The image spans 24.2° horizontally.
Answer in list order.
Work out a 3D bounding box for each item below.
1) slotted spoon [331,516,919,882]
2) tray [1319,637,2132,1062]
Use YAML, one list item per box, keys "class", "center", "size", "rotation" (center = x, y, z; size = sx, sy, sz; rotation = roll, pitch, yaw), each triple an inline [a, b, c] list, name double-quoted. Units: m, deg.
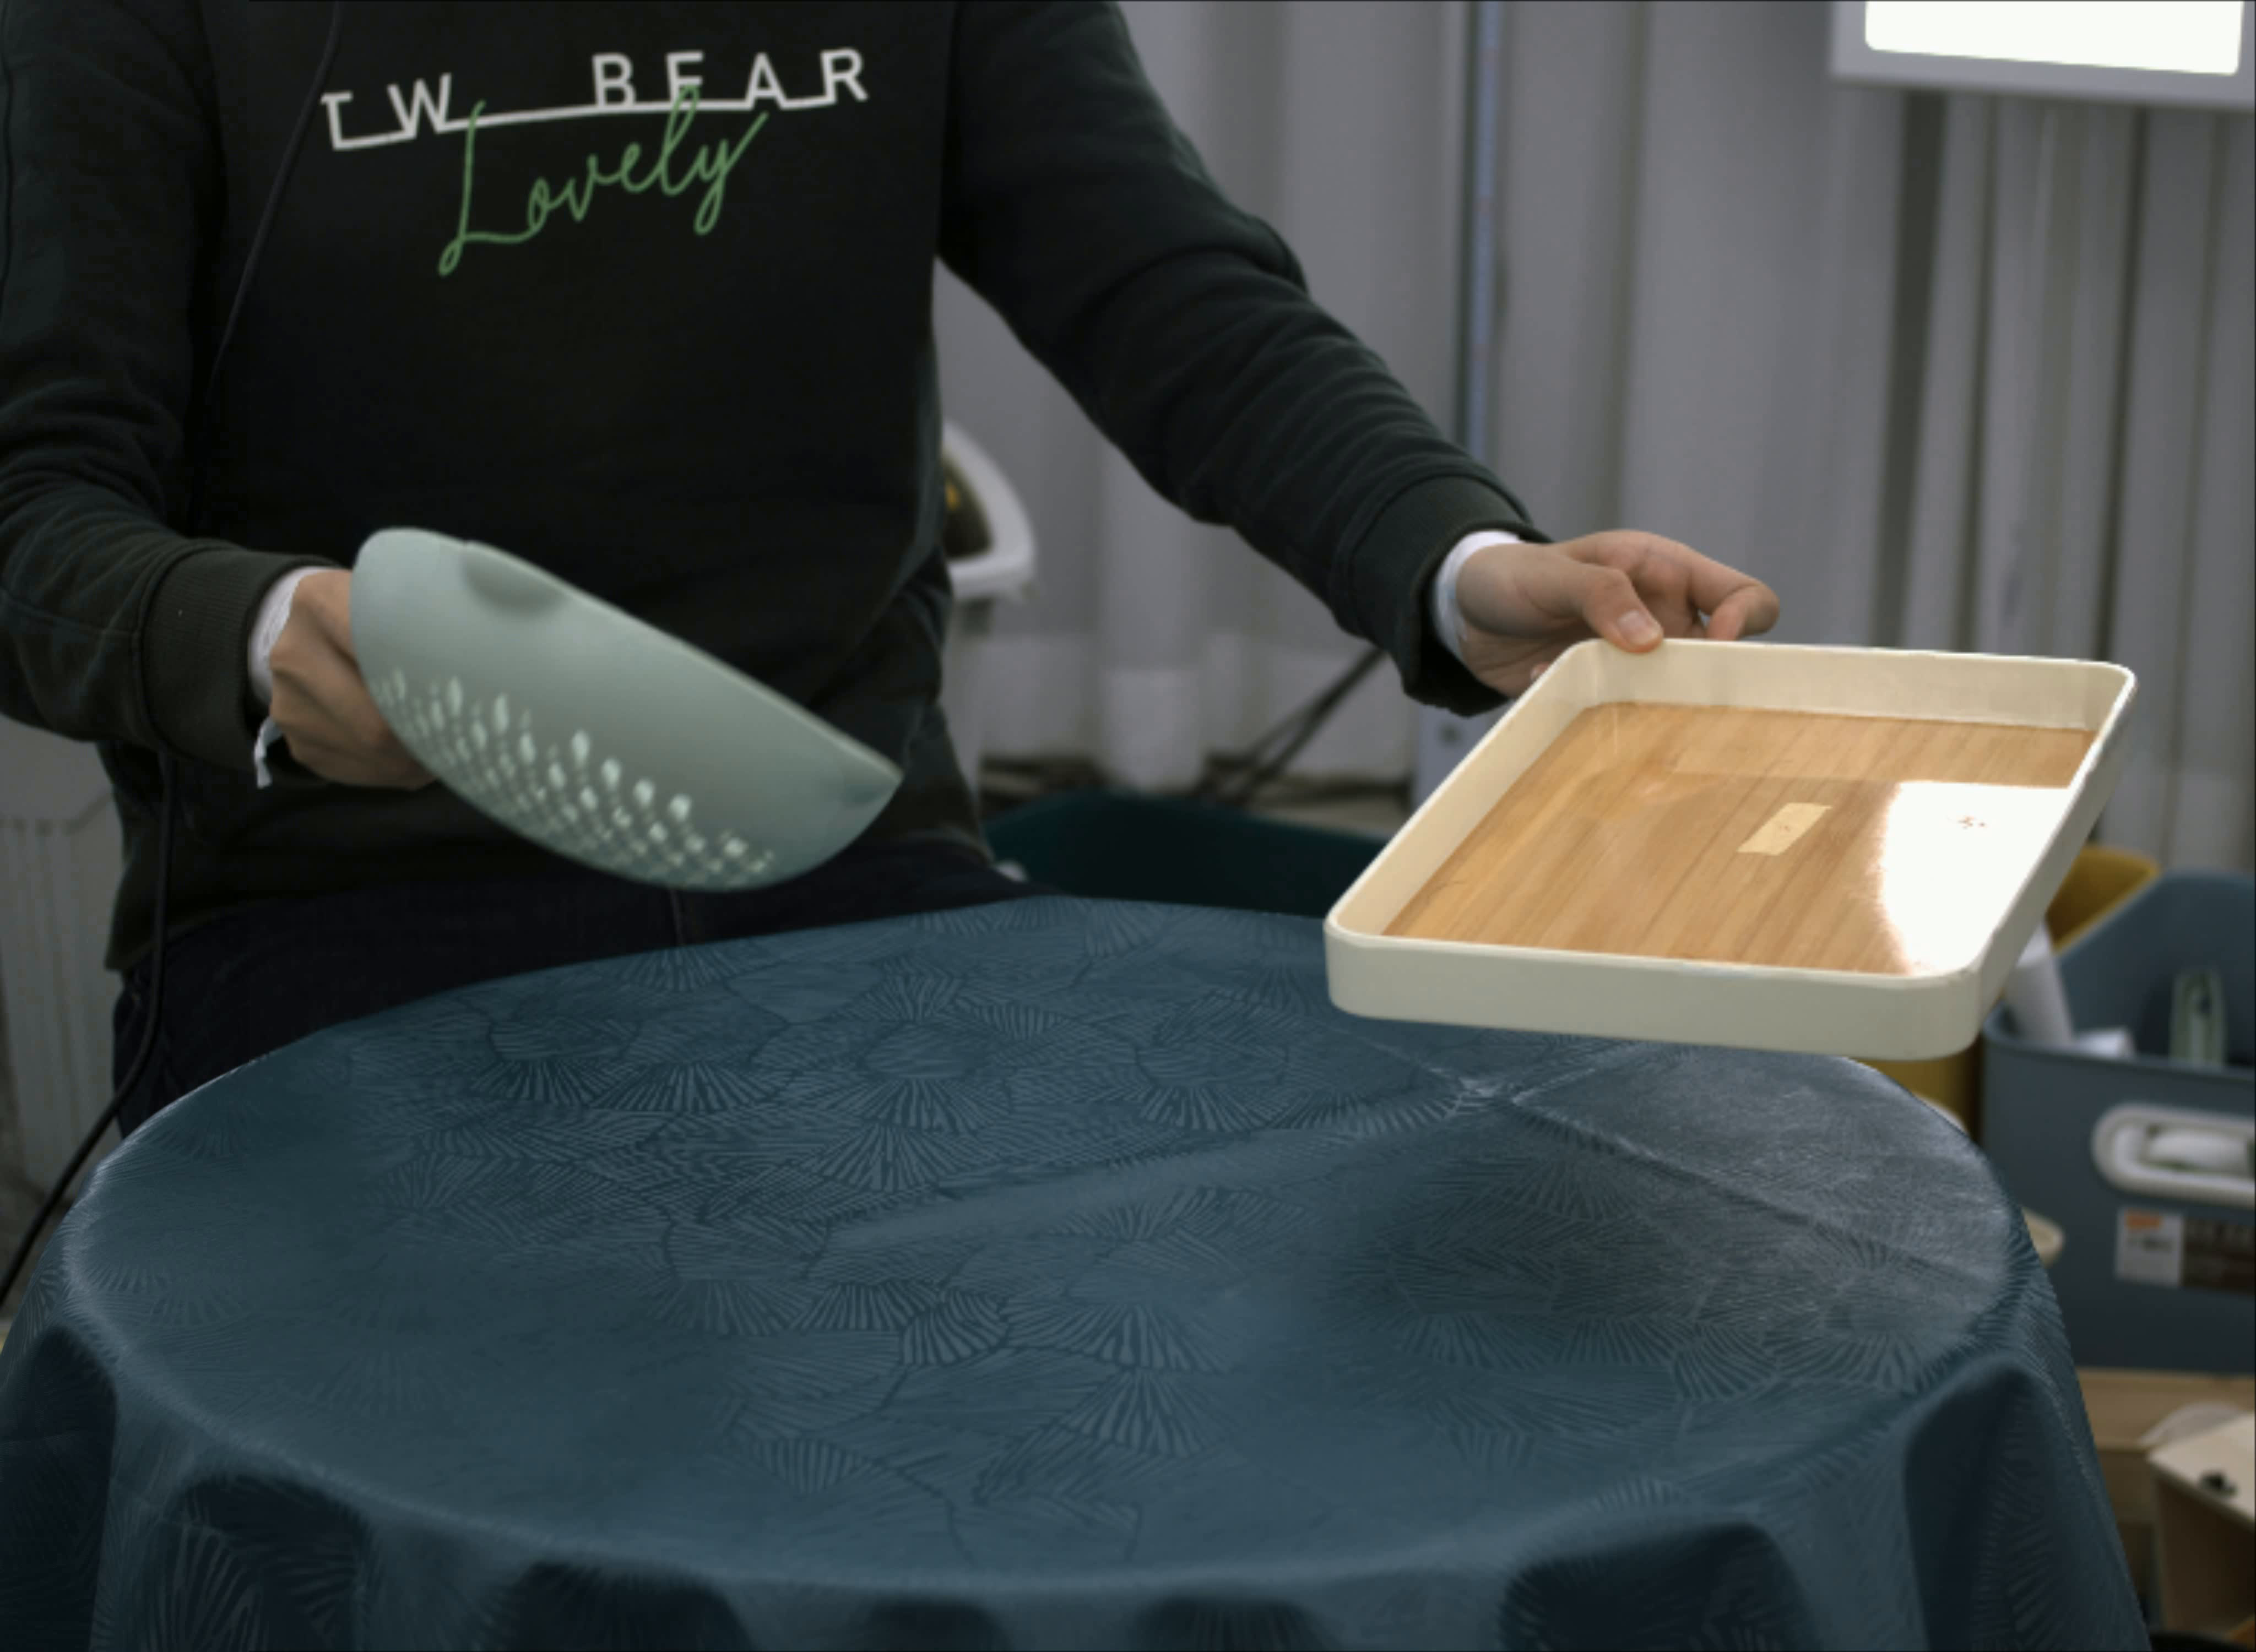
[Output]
- class: "slotted spoon"
  center: [-0.184, -0.038, 1.583]
  size: [0.170, 0.075, 0.355]
  rotation: [30, -3, -21]
- class: "tray"
  center: [0.189, 0.002, 1.605]
  size: [0.190, 0.027, 0.300]
  rotation: [5, 20, 19]
